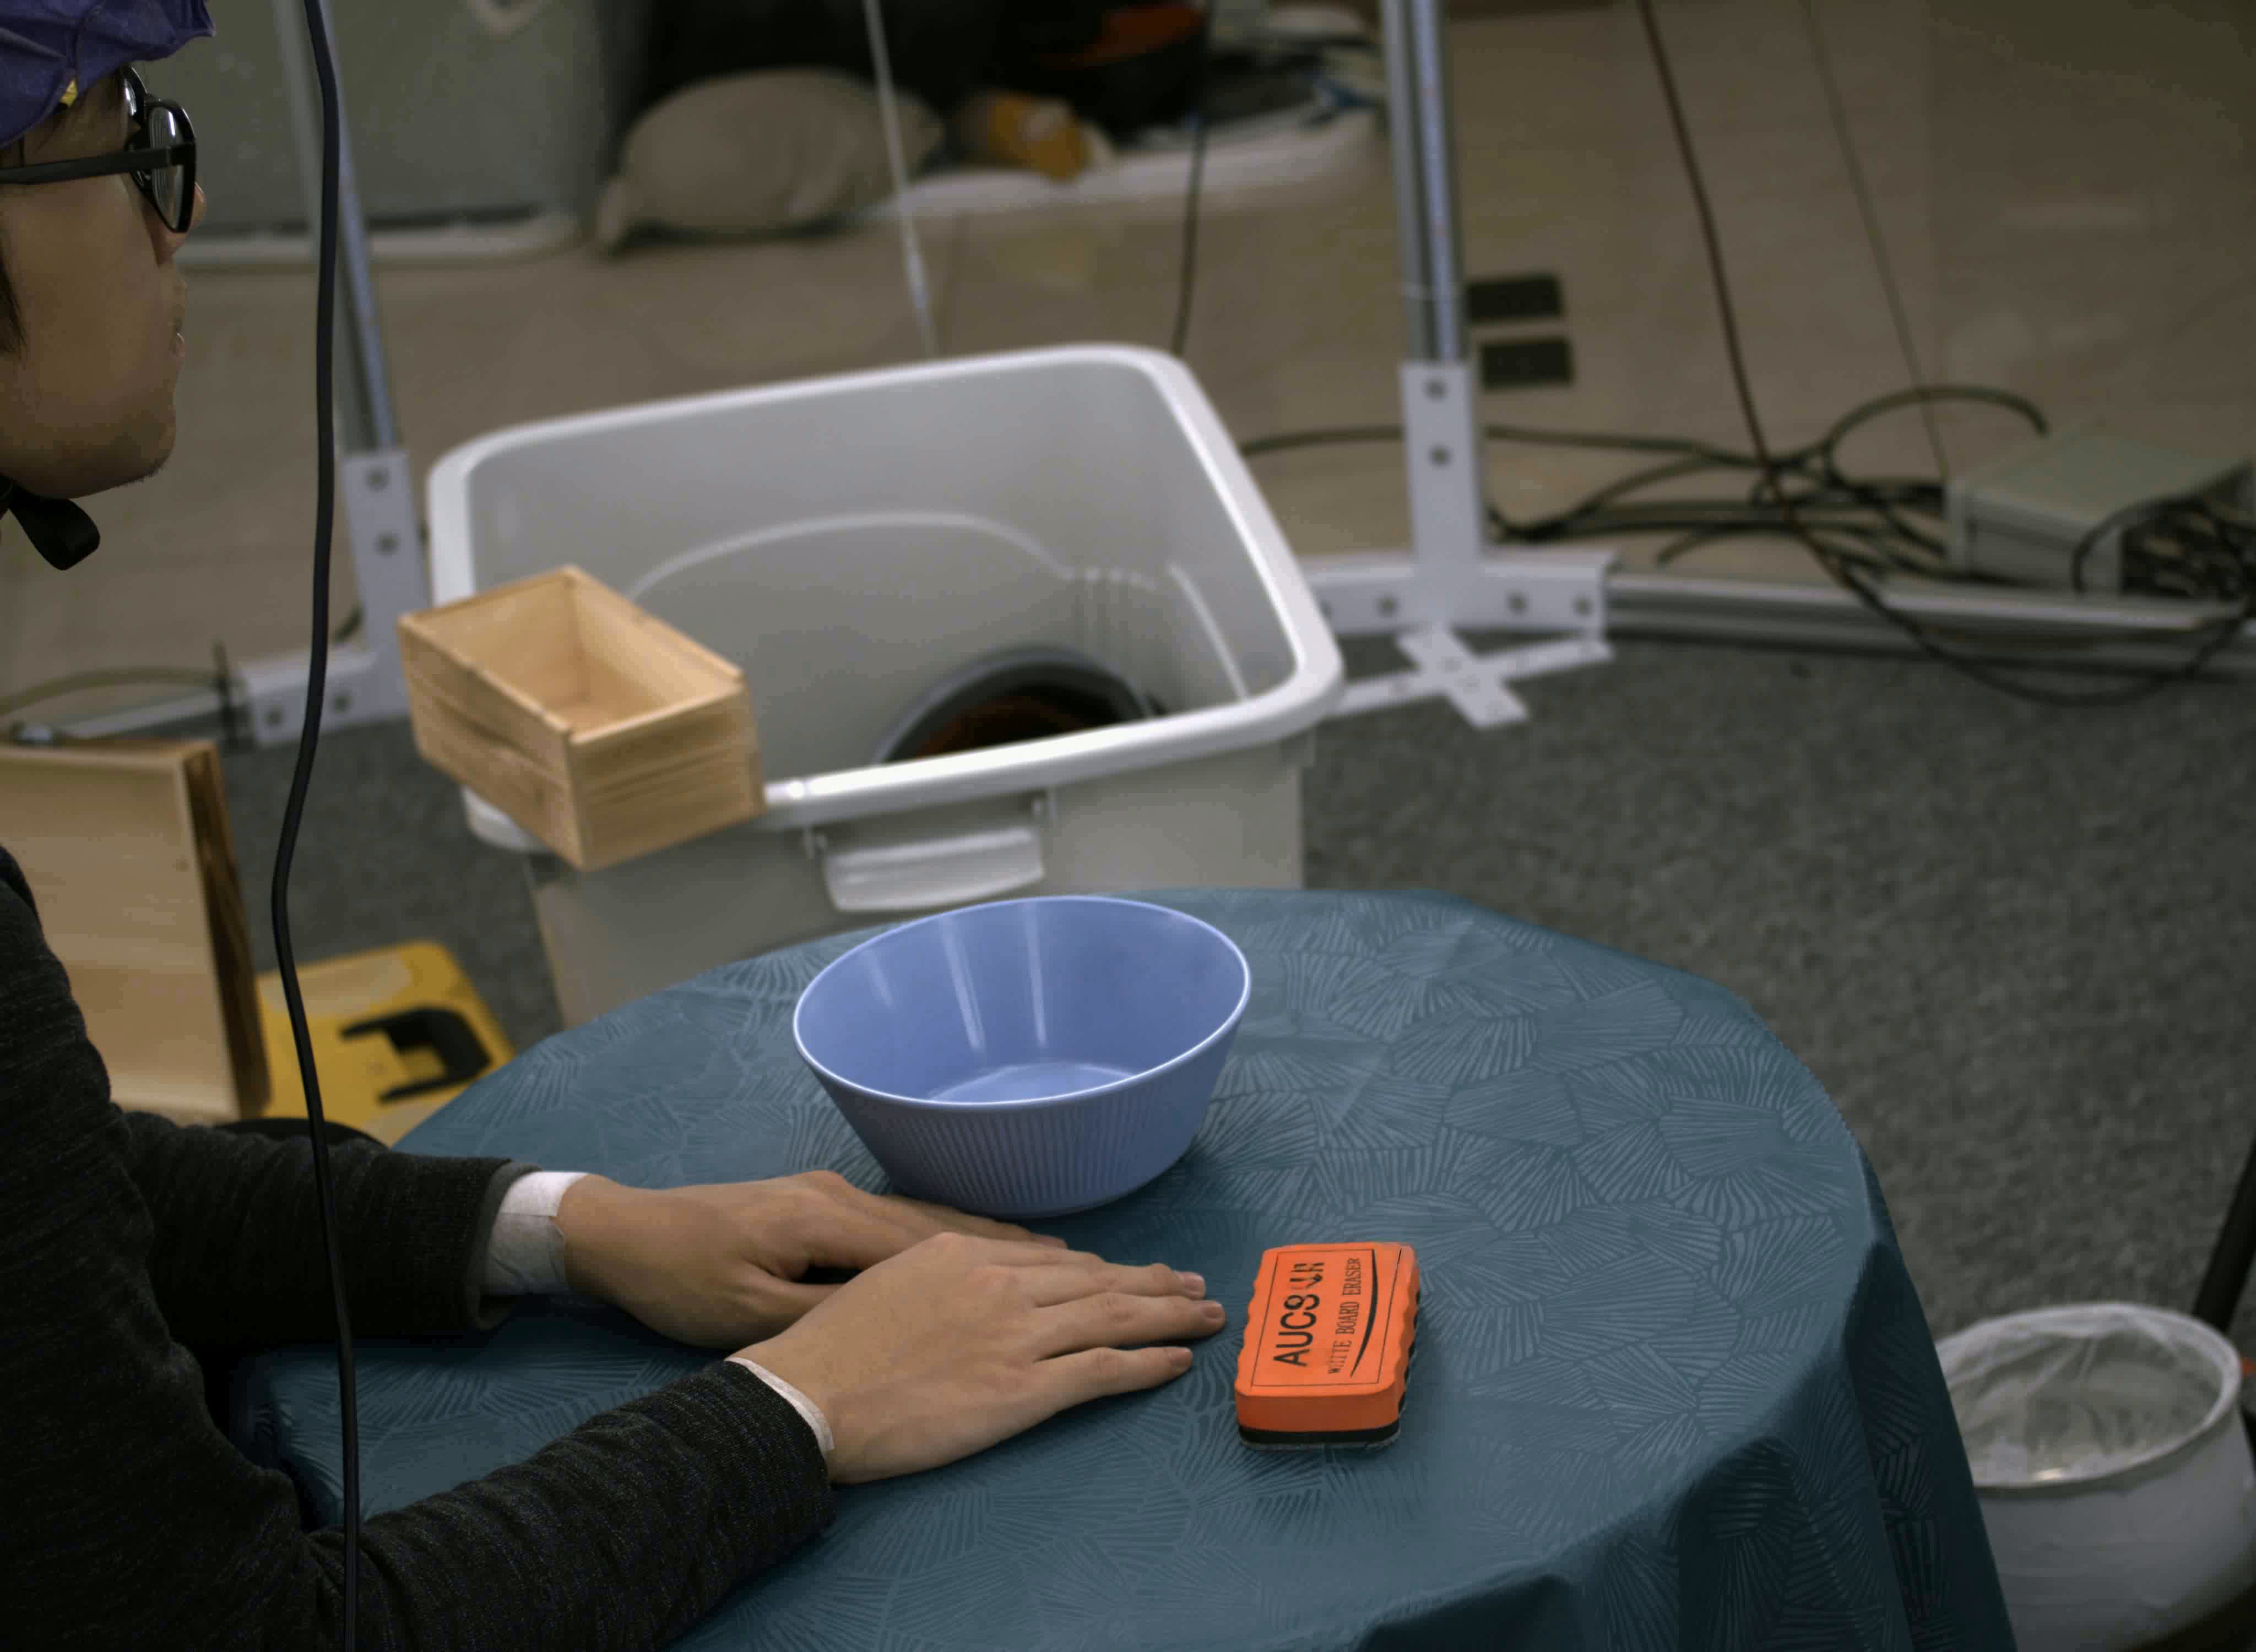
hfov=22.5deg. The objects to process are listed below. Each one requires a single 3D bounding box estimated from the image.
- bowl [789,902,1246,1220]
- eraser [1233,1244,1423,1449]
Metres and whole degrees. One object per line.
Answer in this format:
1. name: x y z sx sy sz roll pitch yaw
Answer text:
1. bowl: -0.039 0.095 2.168 0.176 0.071 0.173 -5 25 3
2. eraser: 0.071 0.183 2.008 0.059 0.023 0.106 0 26 9
